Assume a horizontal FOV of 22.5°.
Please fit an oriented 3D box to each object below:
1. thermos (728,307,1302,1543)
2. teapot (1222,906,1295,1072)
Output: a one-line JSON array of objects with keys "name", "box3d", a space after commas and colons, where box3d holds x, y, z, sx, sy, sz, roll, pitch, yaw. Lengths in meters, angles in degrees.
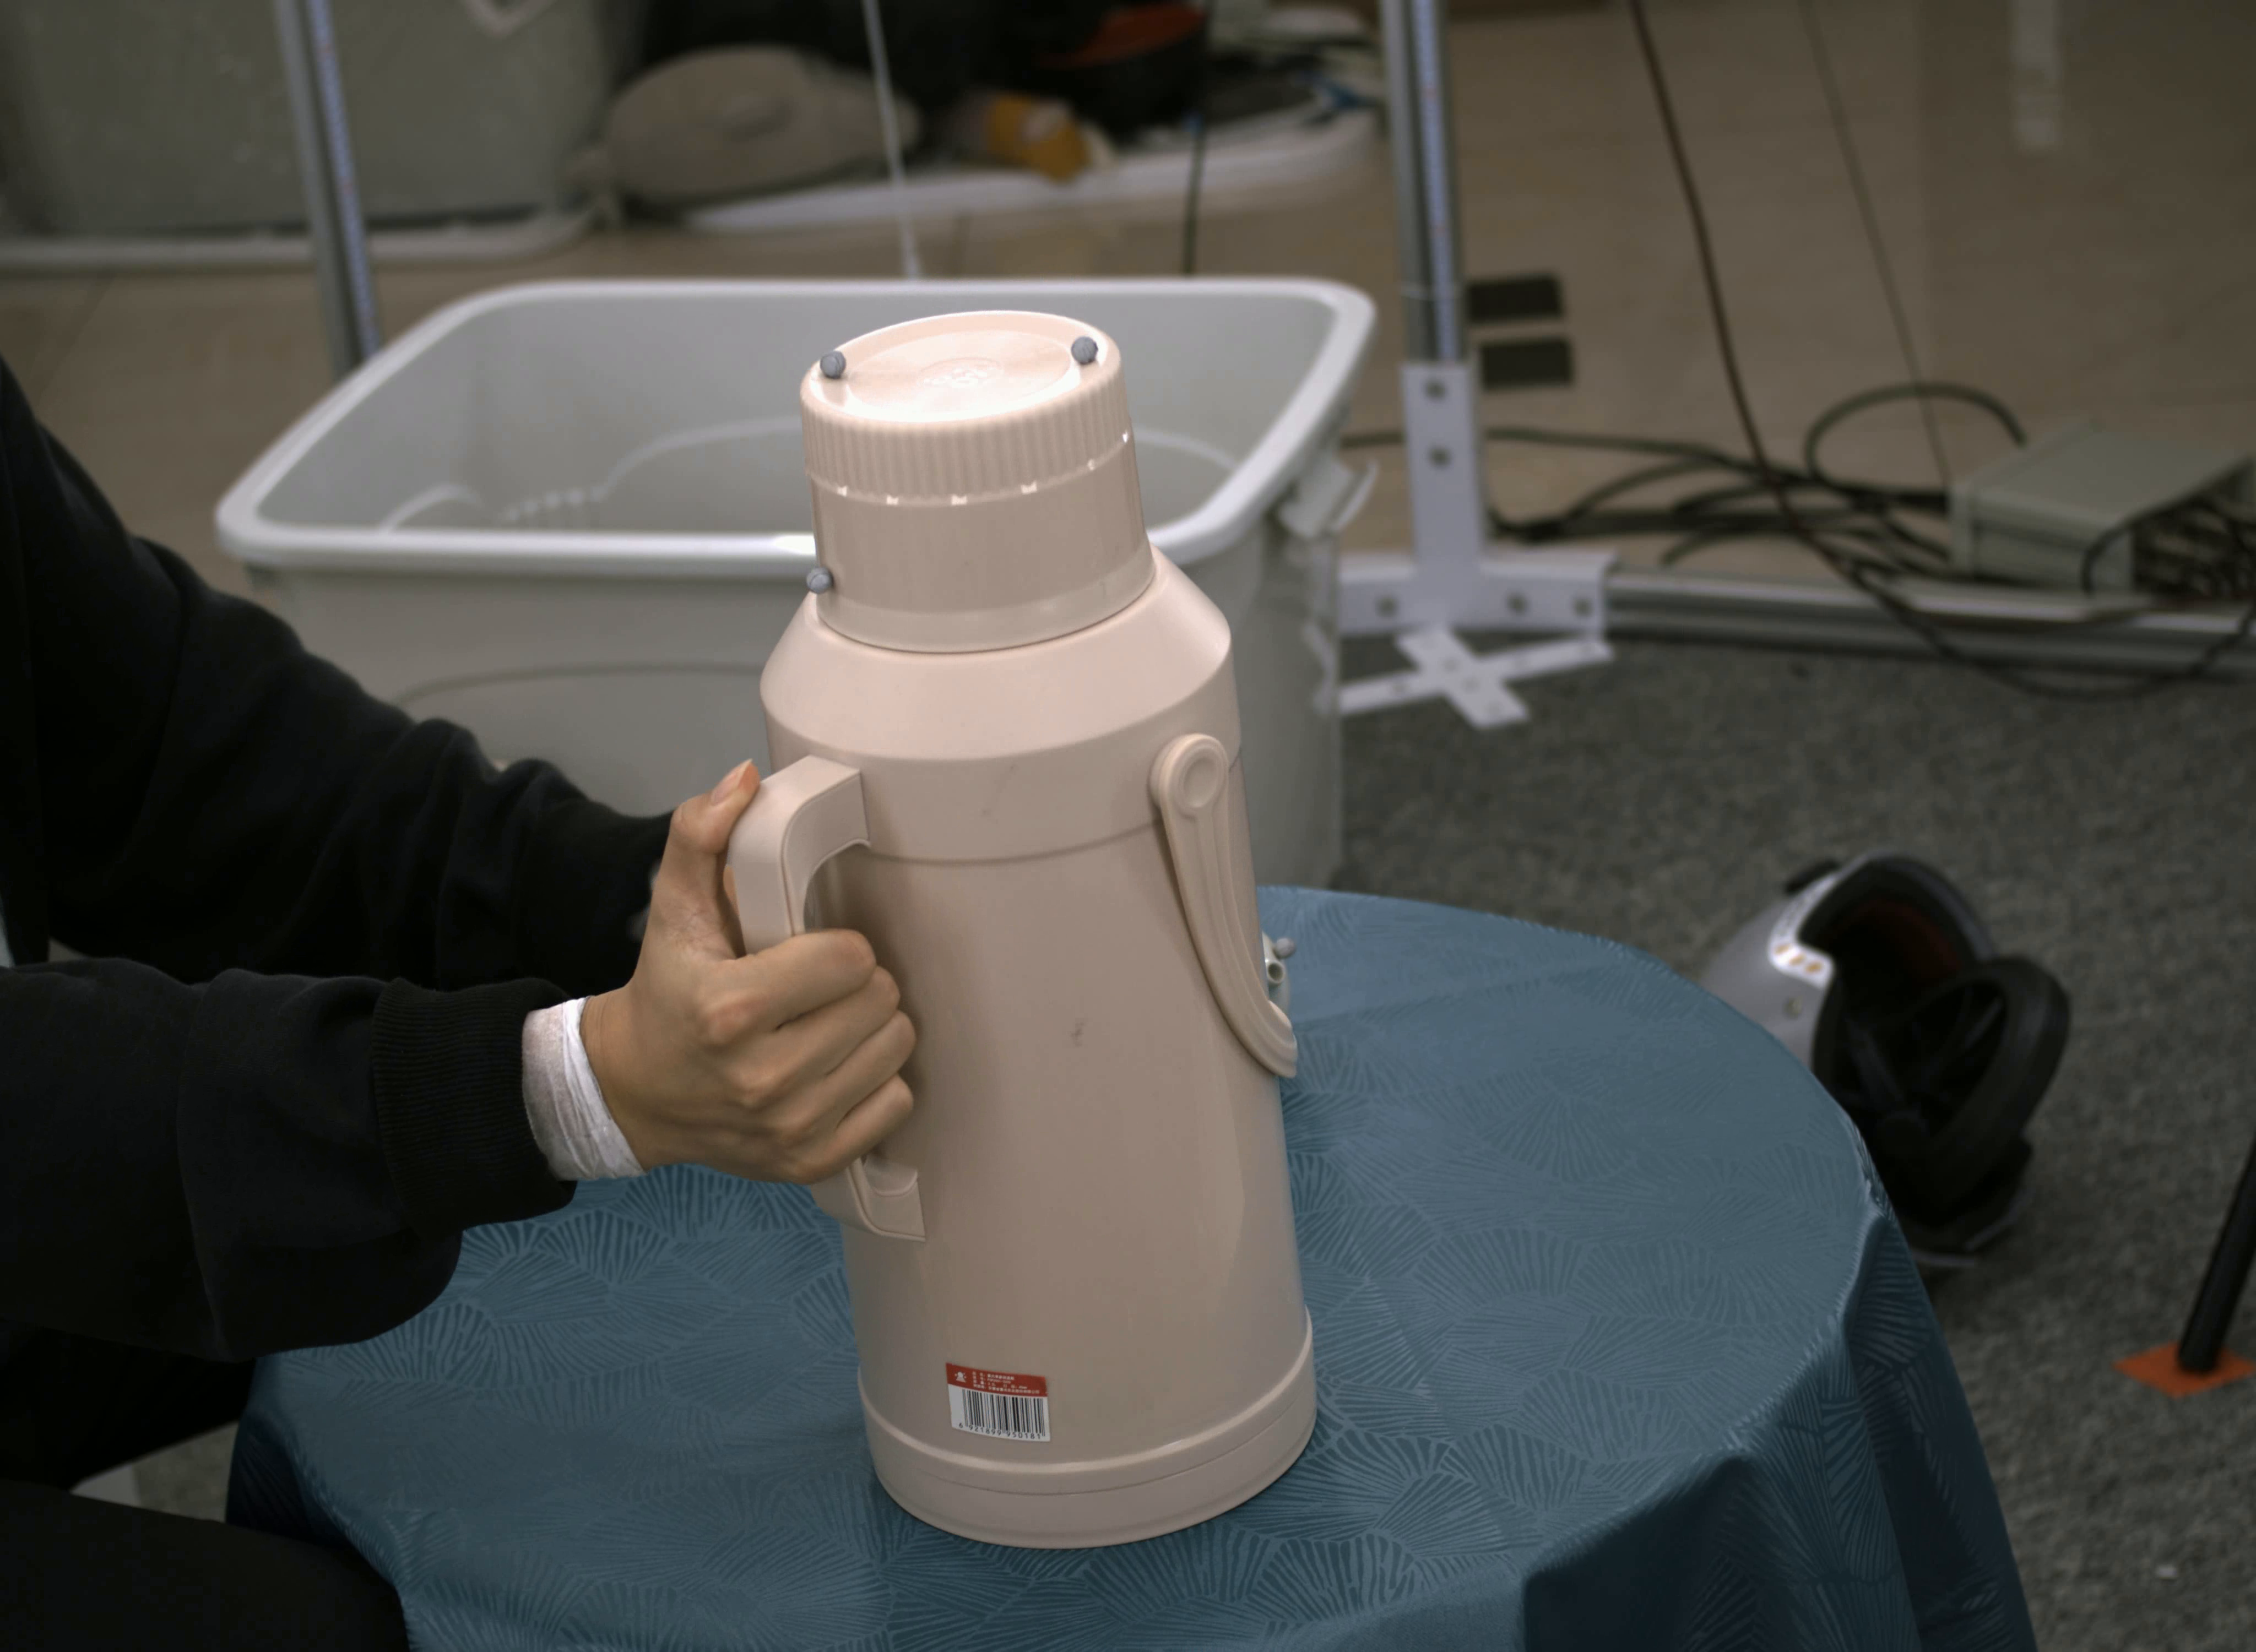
[{"name": "thermos", "box3d": [-0.046, 0.038, 1.900, 0.174, 0.413, 0.205, 18, 35, 37]}, {"name": "teapot", "box3d": [0.012, 0.067, 2.230, 0.127, 0.060, 0.091, 12, 35, 33]}]
